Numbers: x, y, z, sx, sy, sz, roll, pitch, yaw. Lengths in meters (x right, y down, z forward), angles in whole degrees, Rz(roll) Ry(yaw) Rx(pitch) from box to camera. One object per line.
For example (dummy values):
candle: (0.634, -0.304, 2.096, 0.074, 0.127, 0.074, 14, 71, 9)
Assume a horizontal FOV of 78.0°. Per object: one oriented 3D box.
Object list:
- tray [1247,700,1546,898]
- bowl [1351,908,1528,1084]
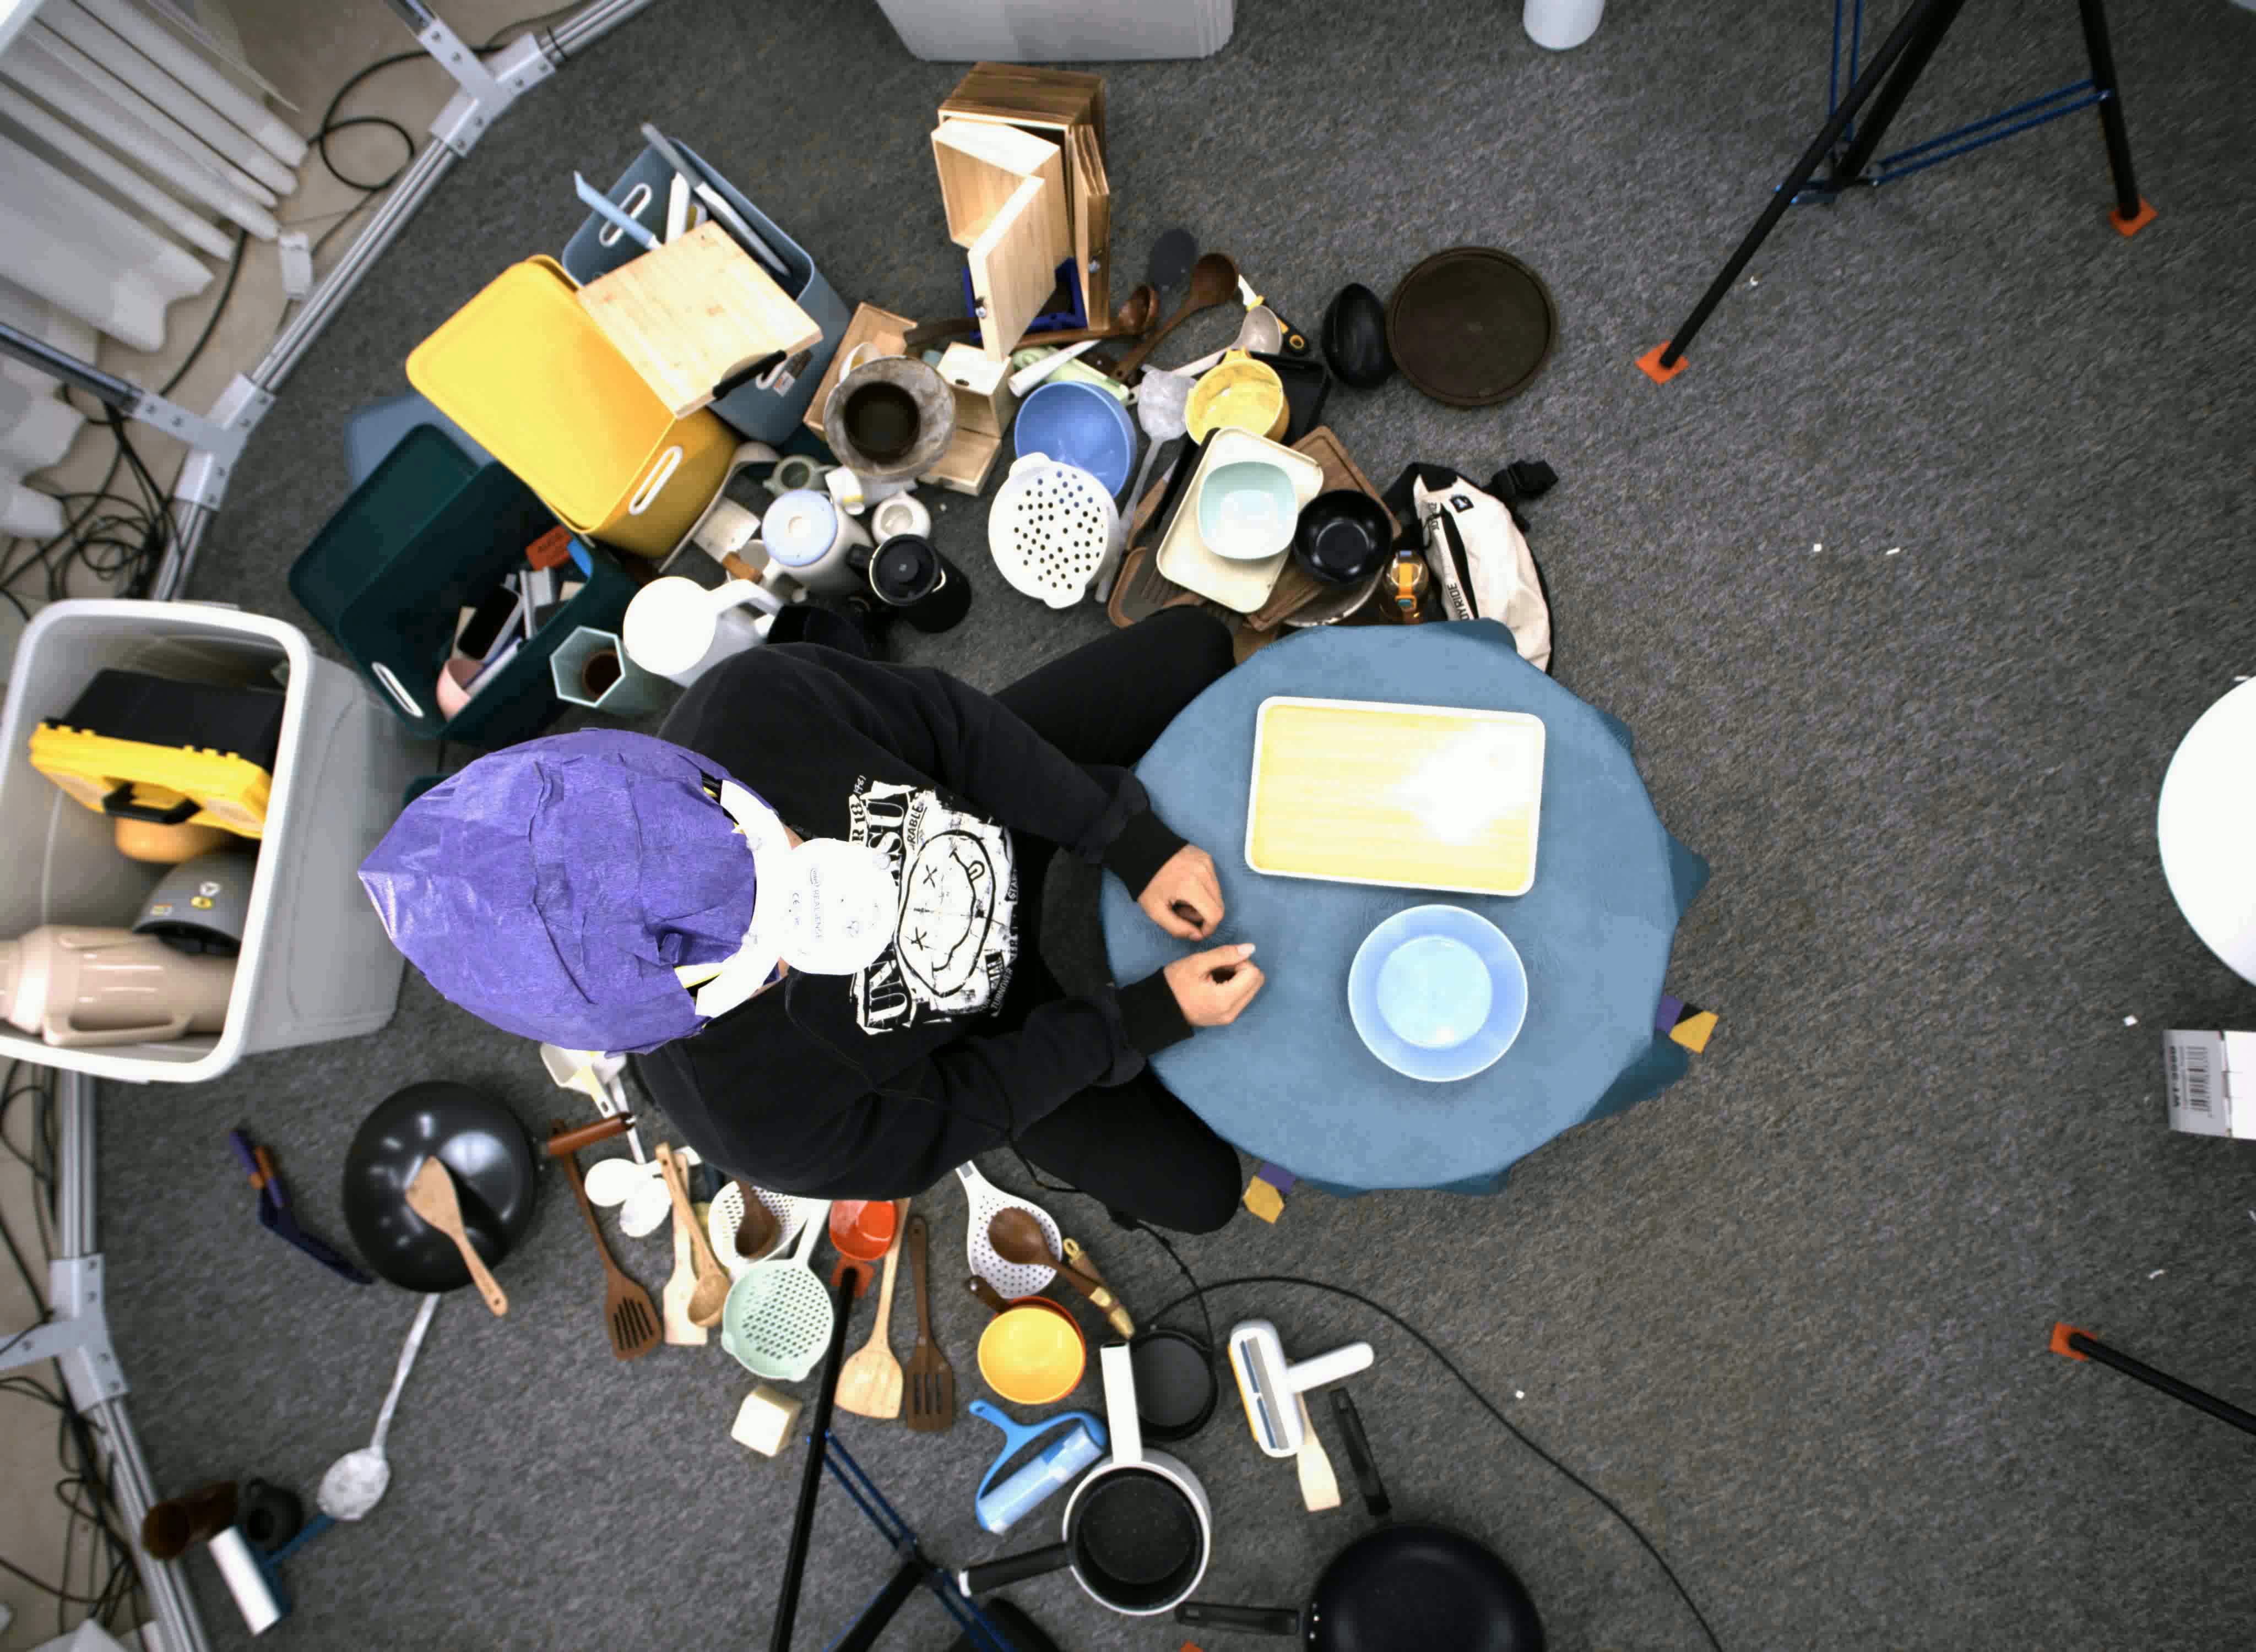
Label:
tray: (0.282, -0.031, 1.456, 0.301, 0.027, 0.191, 5, 87, 10)
bowl: (0.317, 0.172, 1.413, 0.177, 0.070, 0.175, -1, 85, 10)
